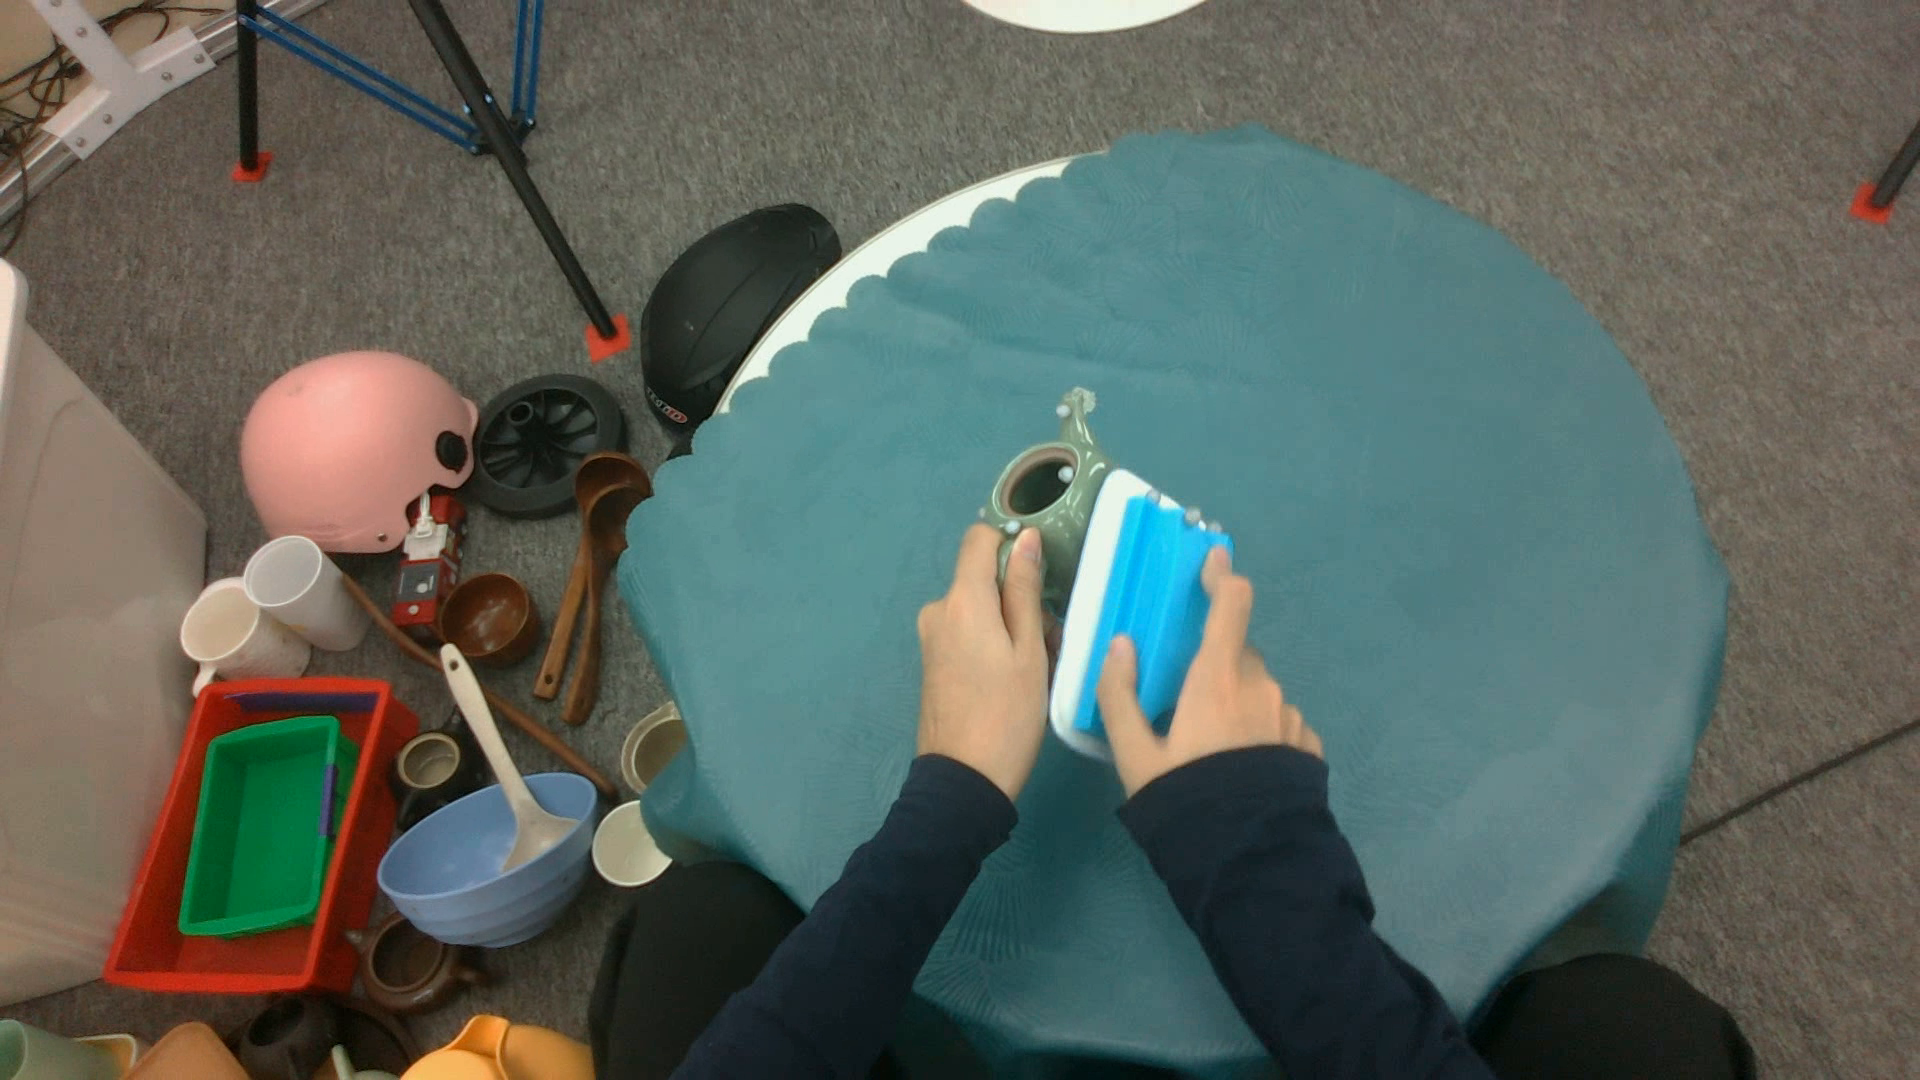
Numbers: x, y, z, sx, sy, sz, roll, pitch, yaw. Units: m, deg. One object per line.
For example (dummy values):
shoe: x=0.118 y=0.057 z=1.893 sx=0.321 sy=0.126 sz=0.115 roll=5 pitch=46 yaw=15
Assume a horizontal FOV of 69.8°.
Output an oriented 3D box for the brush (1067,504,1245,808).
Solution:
brush: x=0.106 y=0.053 z=0.672 sx=0.055 sy=0.084 sz=0.144 roll=-19 pitch=50 yaw=52

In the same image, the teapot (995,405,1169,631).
teapot: x=0.062 y=-0.002 z=0.729 sx=0.079 sy=0.075 sz=0.133 roll=-4 pitch=49 yaw=41
